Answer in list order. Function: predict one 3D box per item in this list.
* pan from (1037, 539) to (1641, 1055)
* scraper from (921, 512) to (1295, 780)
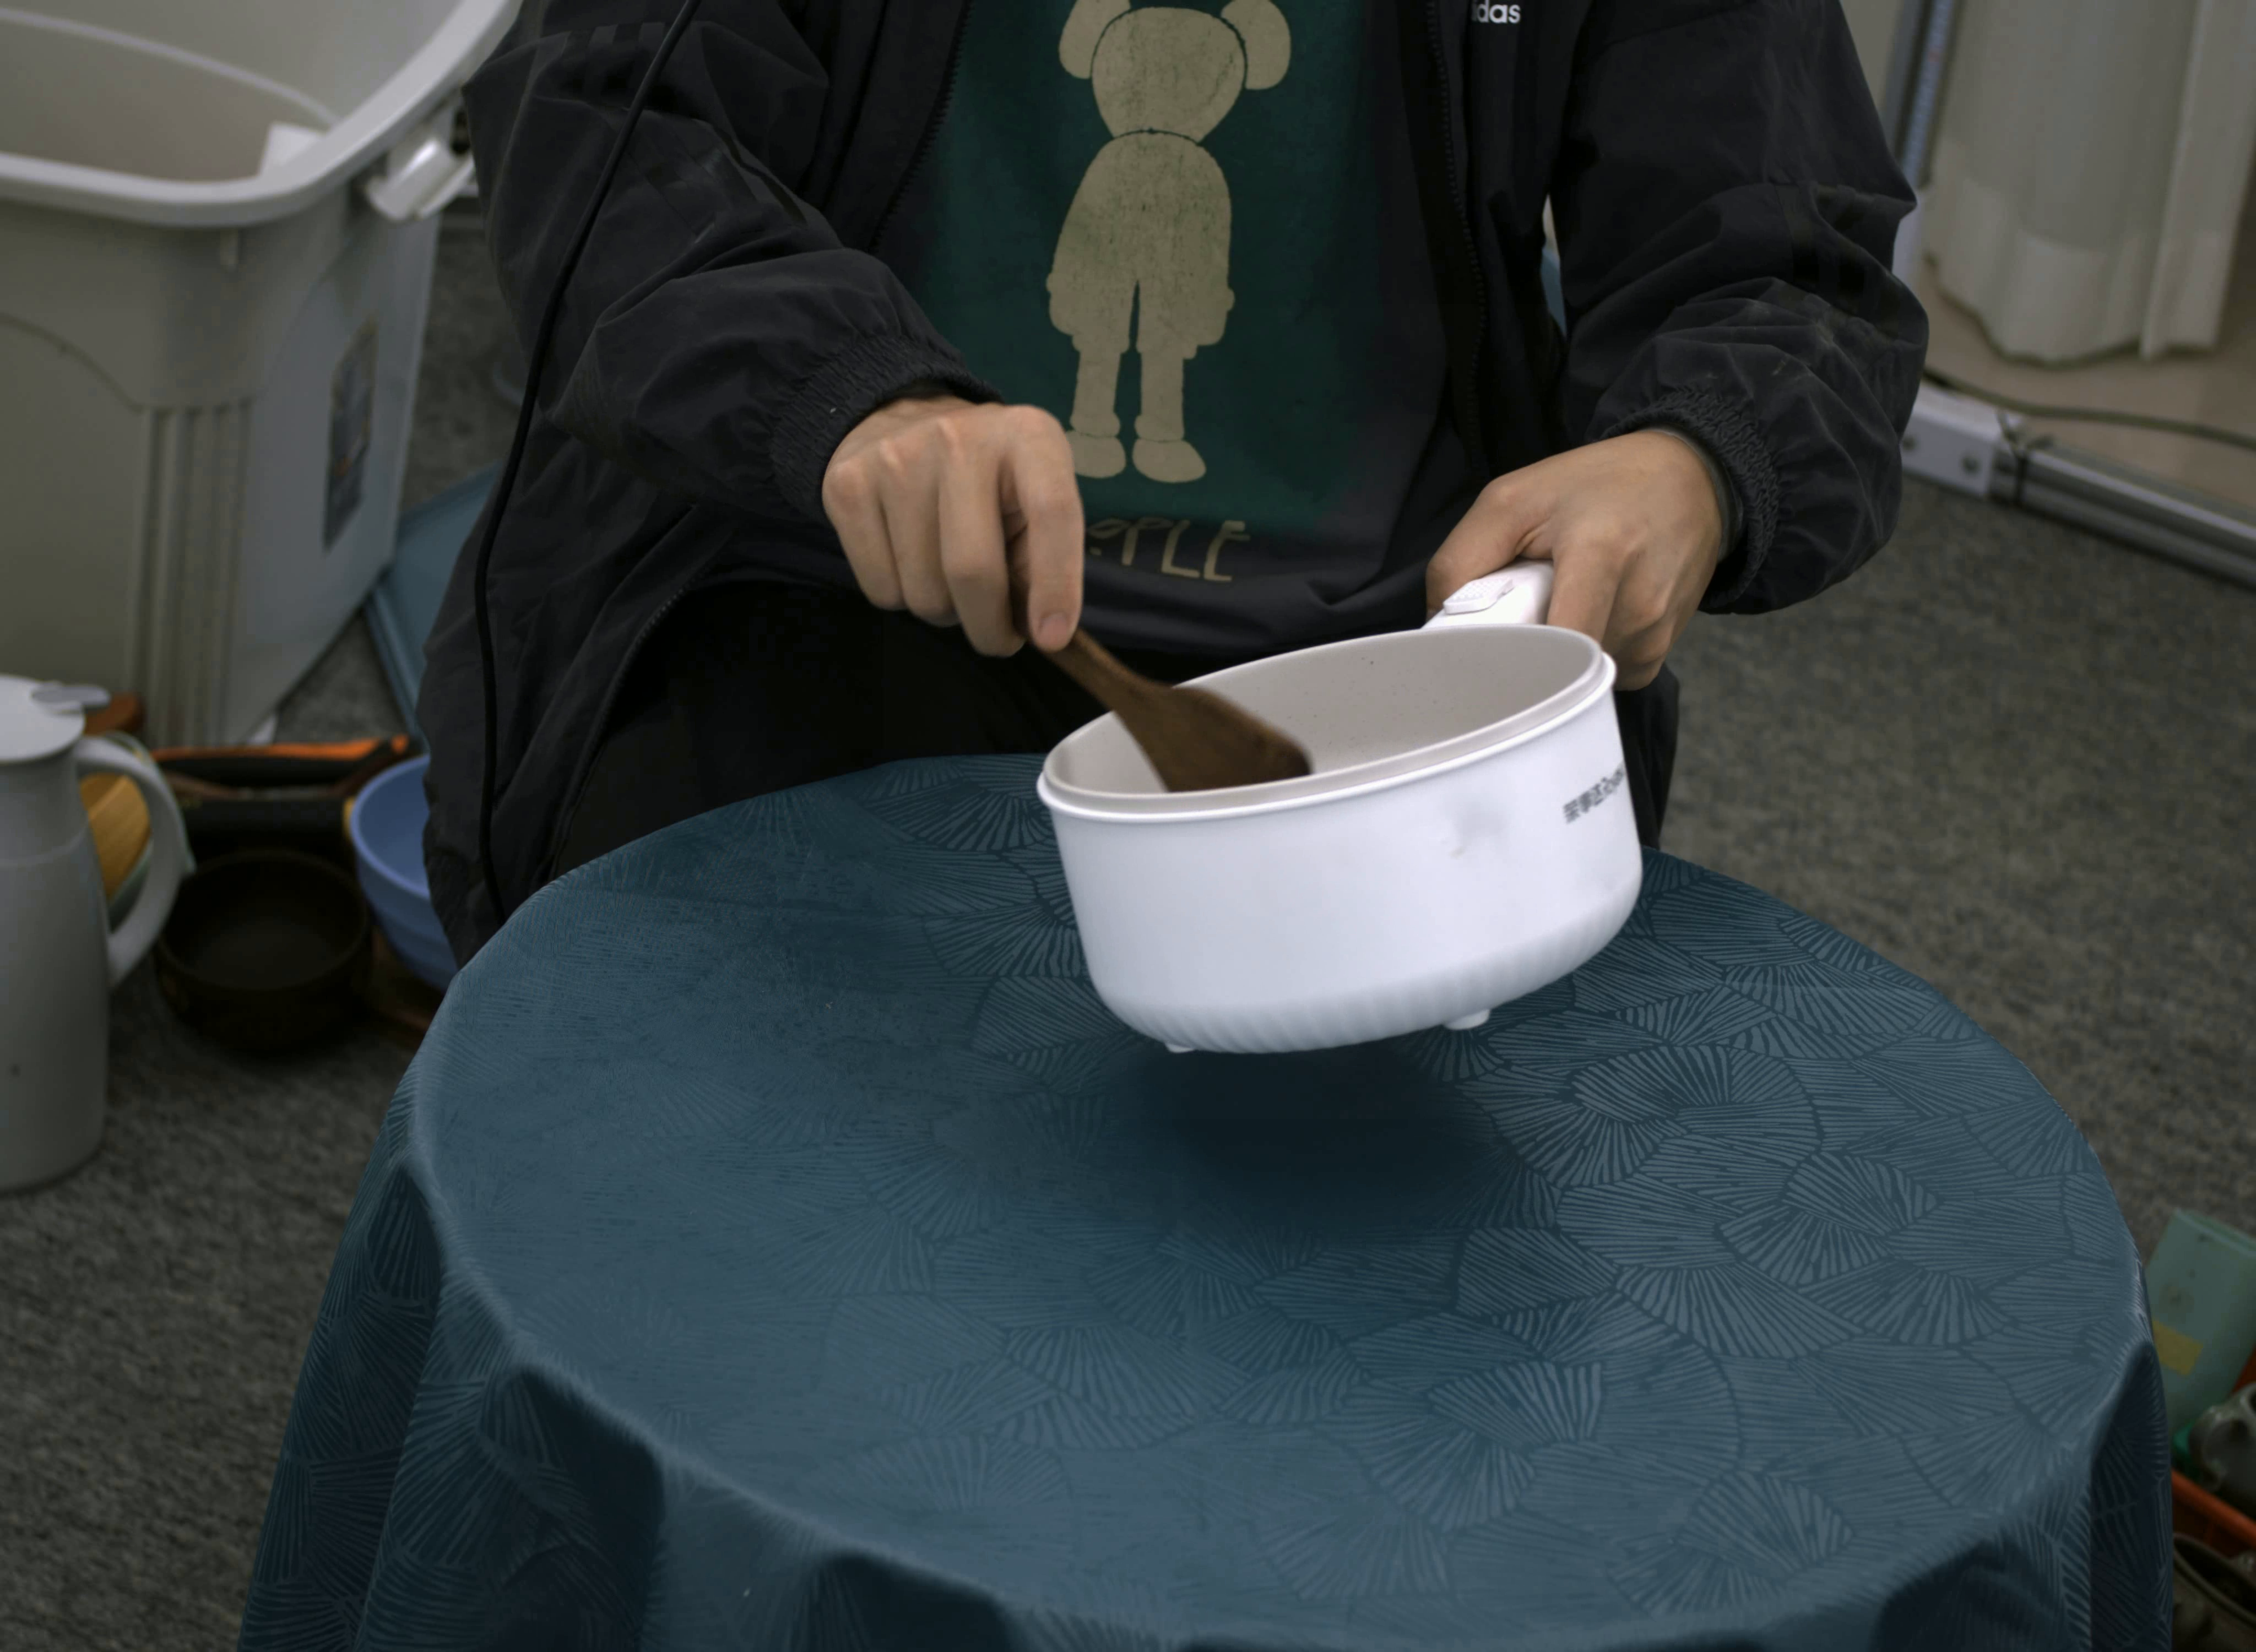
[{"bbox_3d":[0.107,-0.013,1.890,0.201,0.102,0.354,-7,13,27],"label":"pan"},{"bbox_3d":[-0.009,-0.048,1.826,0.011,0.075,0.213,-27,47,-26],"label":"scraper"}]
